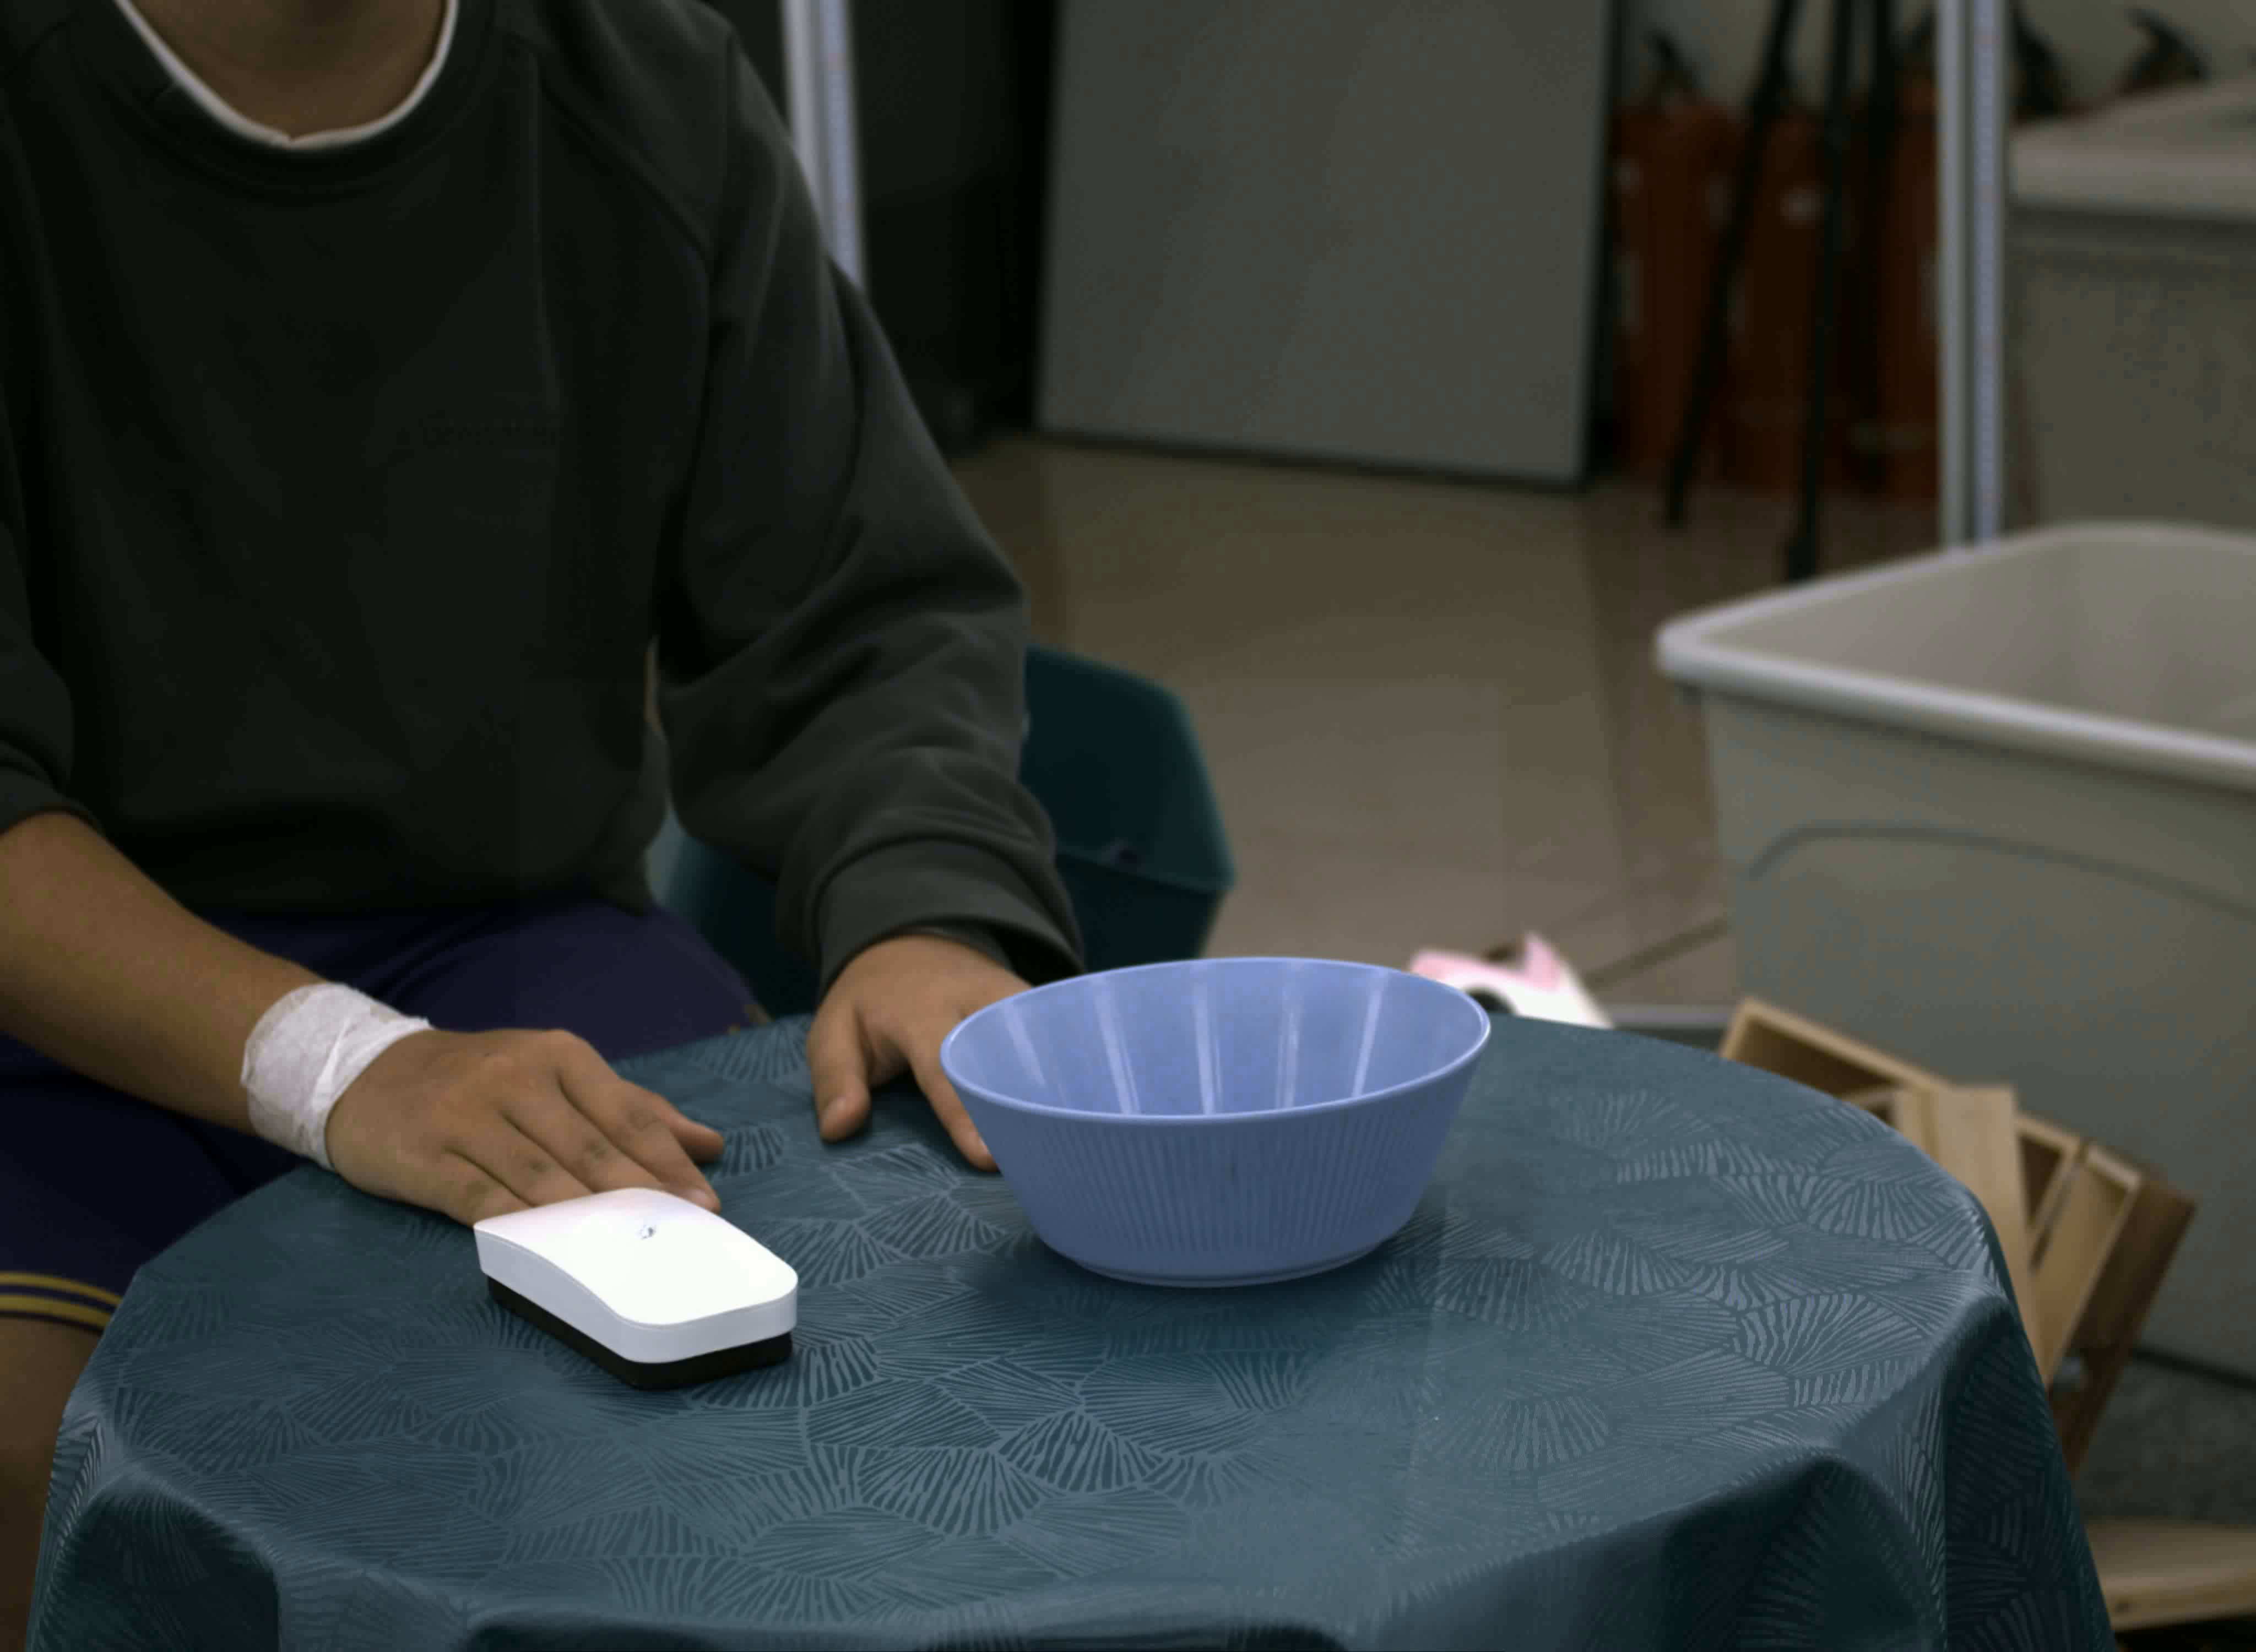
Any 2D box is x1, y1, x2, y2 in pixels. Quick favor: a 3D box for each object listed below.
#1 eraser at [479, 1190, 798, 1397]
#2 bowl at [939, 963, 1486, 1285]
[{"bbox_3d":[-0.150,0.140,1.669,0.062,0.035,0.133,-9,16,-27],"label":"eraser"},{"bbox_3d":[0.028,0.096,1.710,0.174,0.071,0.176,-3,13,0],"label":"bowl"}]
